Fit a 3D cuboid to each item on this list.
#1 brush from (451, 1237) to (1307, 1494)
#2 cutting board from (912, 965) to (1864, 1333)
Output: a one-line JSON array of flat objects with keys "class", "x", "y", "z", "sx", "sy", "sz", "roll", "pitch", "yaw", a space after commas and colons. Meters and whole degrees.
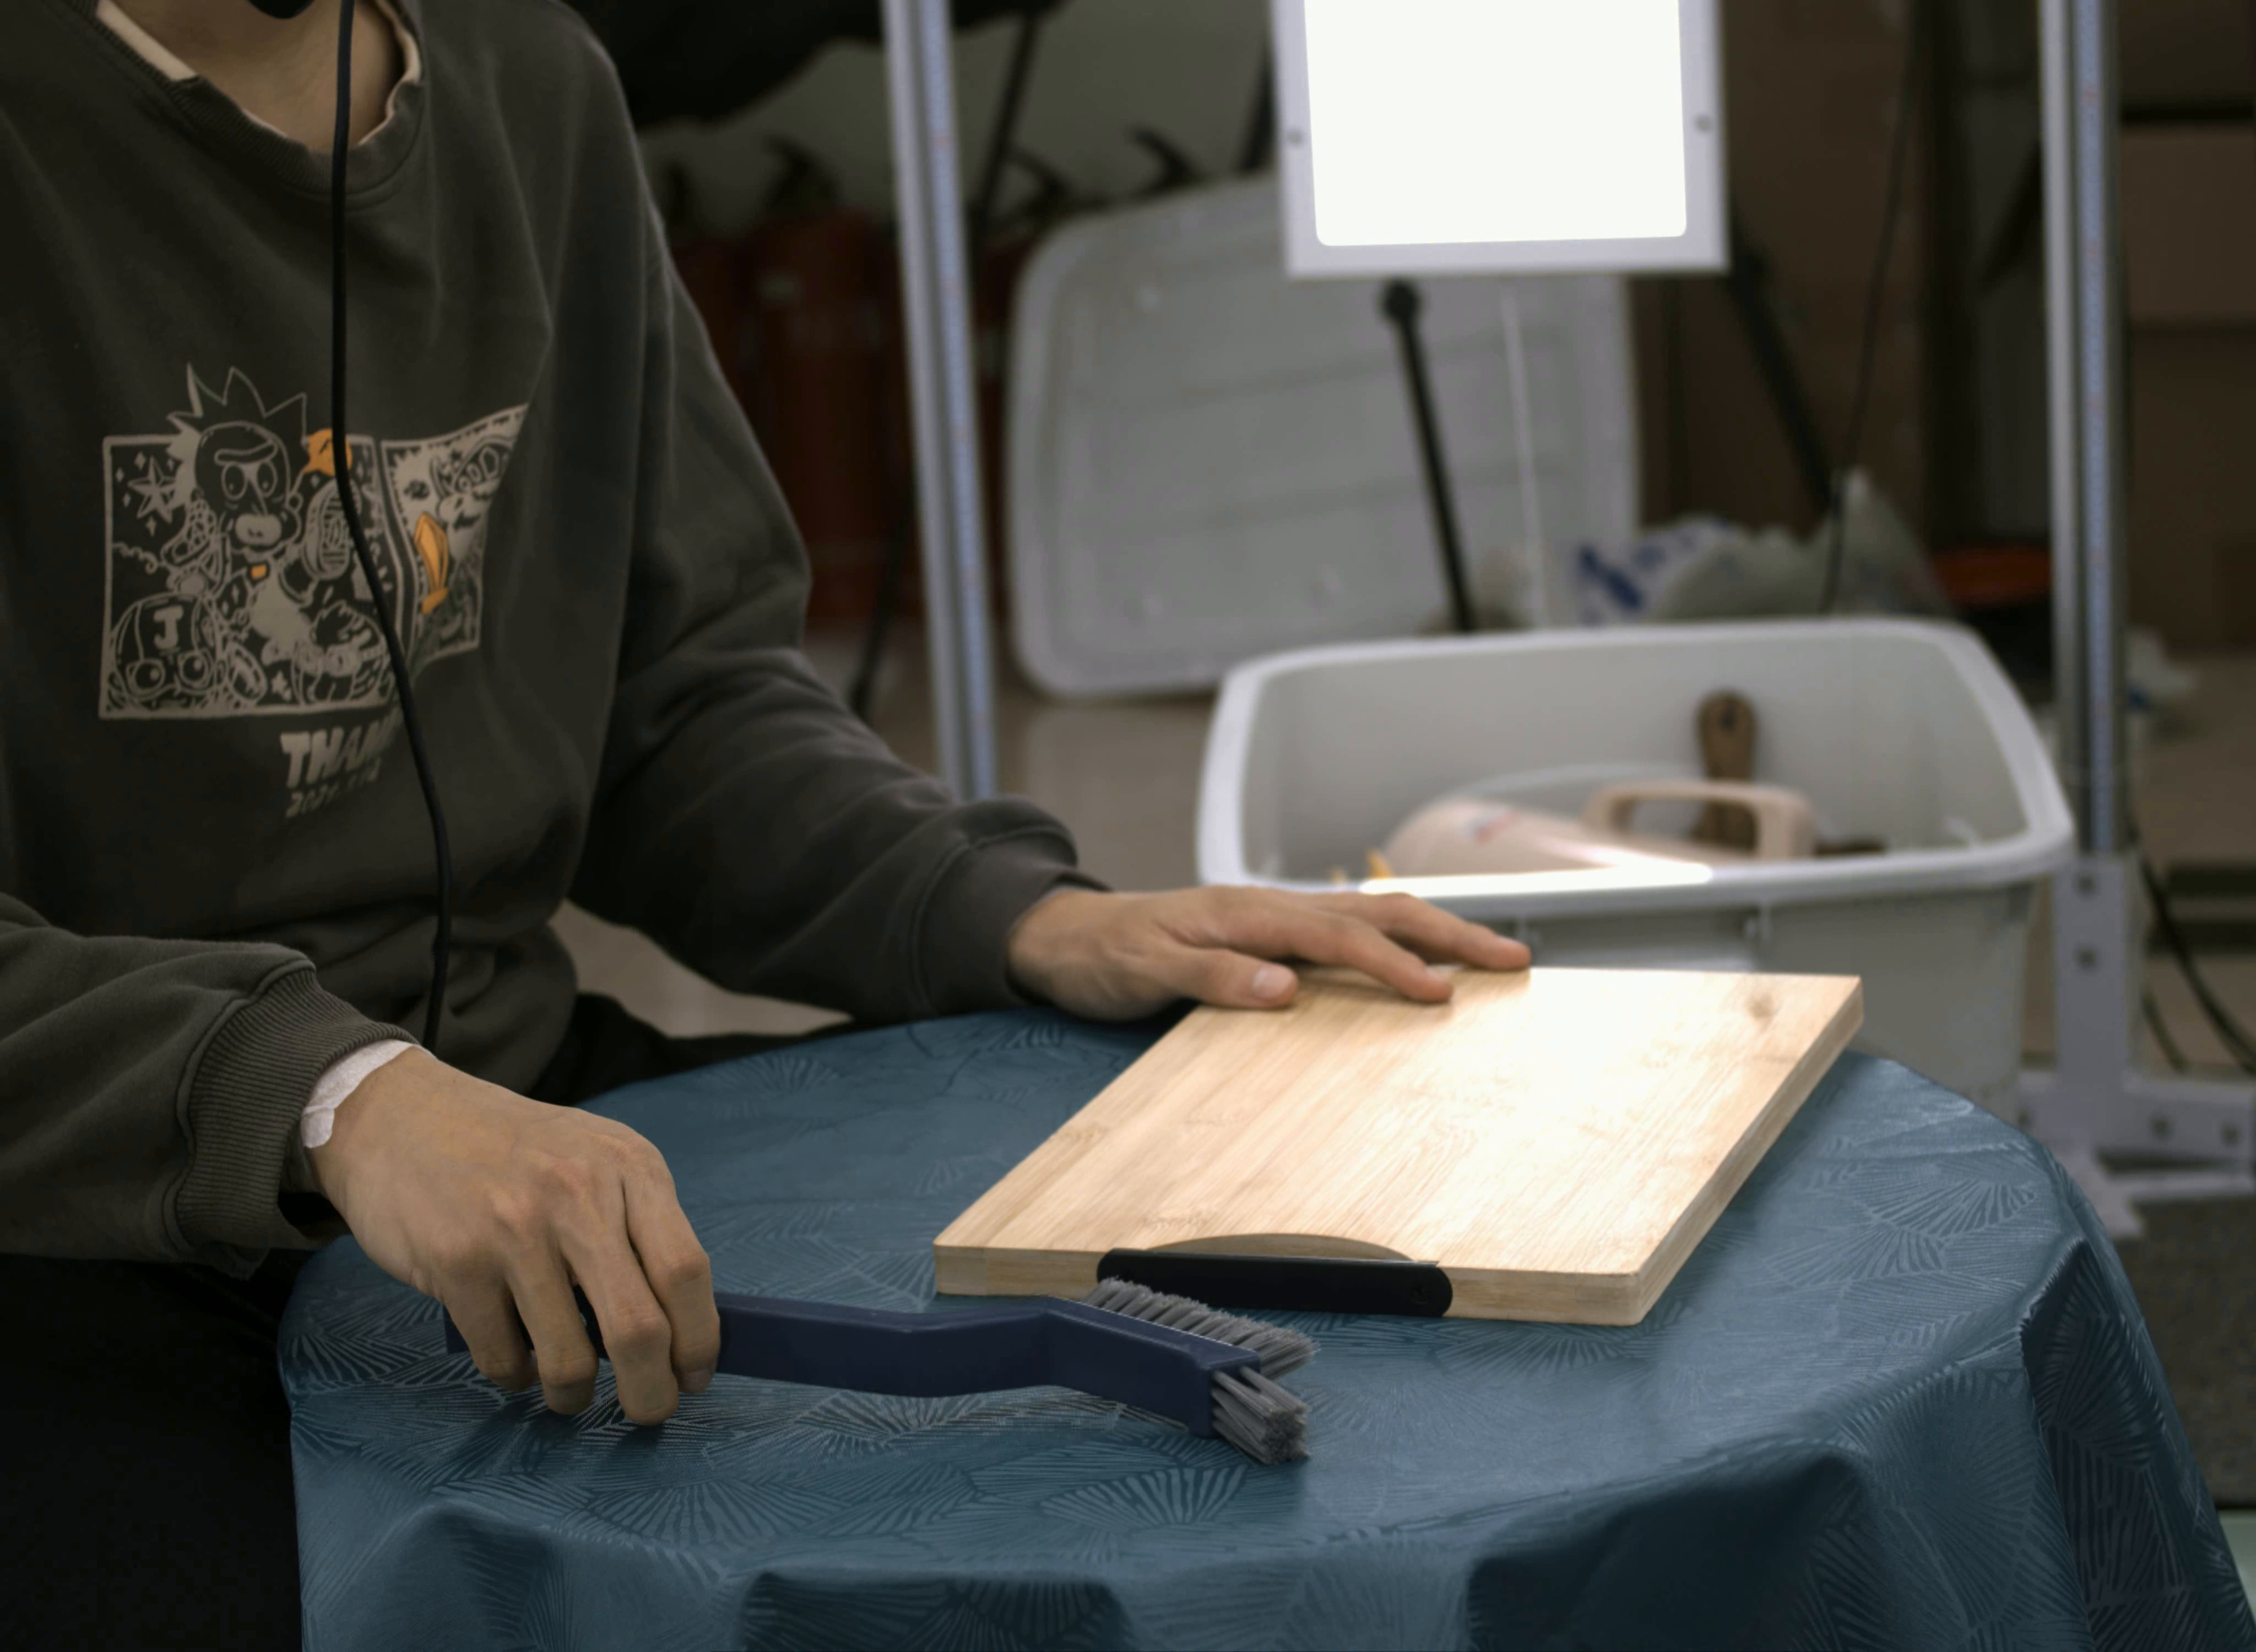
[{"class": "brush", "x": -0.081, "y": 0.161, "z": 1.684, "sx": 0.275, "sy": 0.034, "sz": 0.094, "roll": 2, "pitch": 24, "yaw": 10}, {"class": "cutting board", "x": 0.101, "y": 0.107, "z": 1.907, "sx": 0.254, "sy": 0.023, "sz": 0.342, "roll": -1, "pitch": 14, "yaw": 20}]
